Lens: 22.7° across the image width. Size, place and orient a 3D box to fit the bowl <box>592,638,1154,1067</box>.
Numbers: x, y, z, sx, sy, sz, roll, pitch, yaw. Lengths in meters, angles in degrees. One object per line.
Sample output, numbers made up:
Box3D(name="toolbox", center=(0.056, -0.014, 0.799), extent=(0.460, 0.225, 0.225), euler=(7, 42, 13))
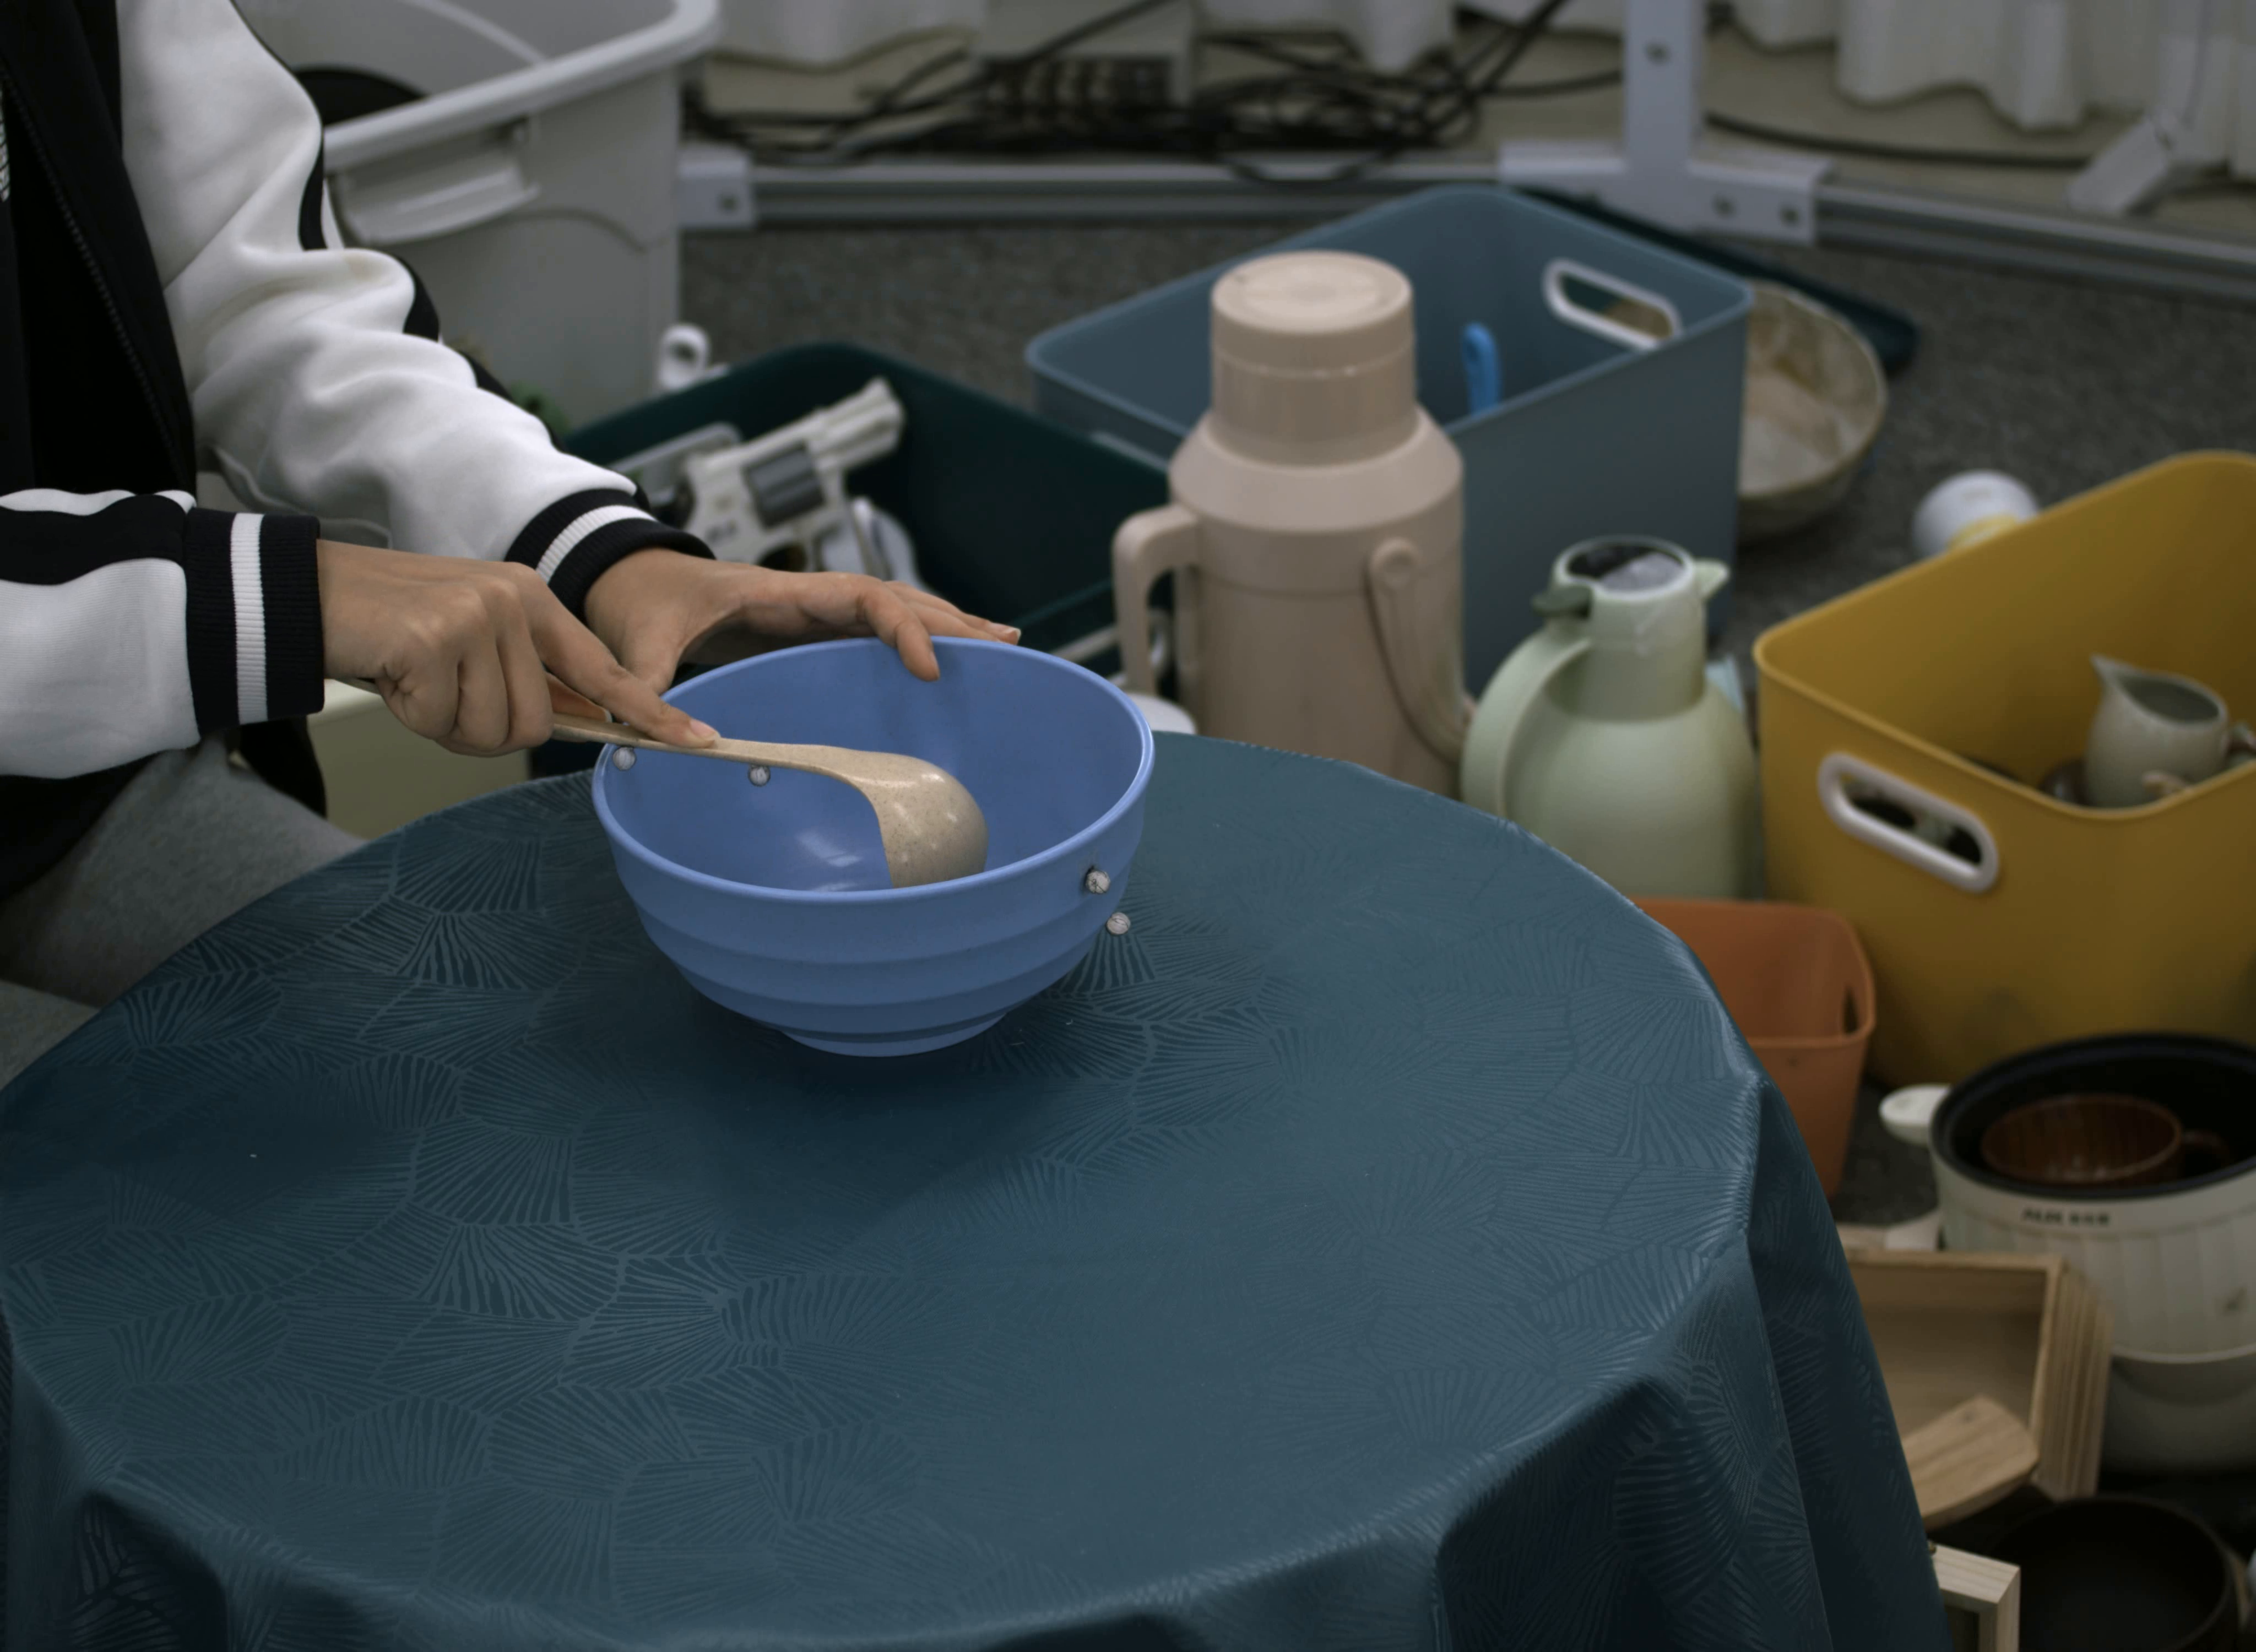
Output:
Box3D(name="bowl", center=(-0.085, 0.021, 1.970), extent=(0.195, 0.094, 0.199), euler=(-3, 28, 2))

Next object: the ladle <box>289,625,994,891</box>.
Box3D(name="ladle", center=(-0.174, -0.008, 1.964), extent=(0.253, 0.072, 0.073), euler=(12, 25, -6))
